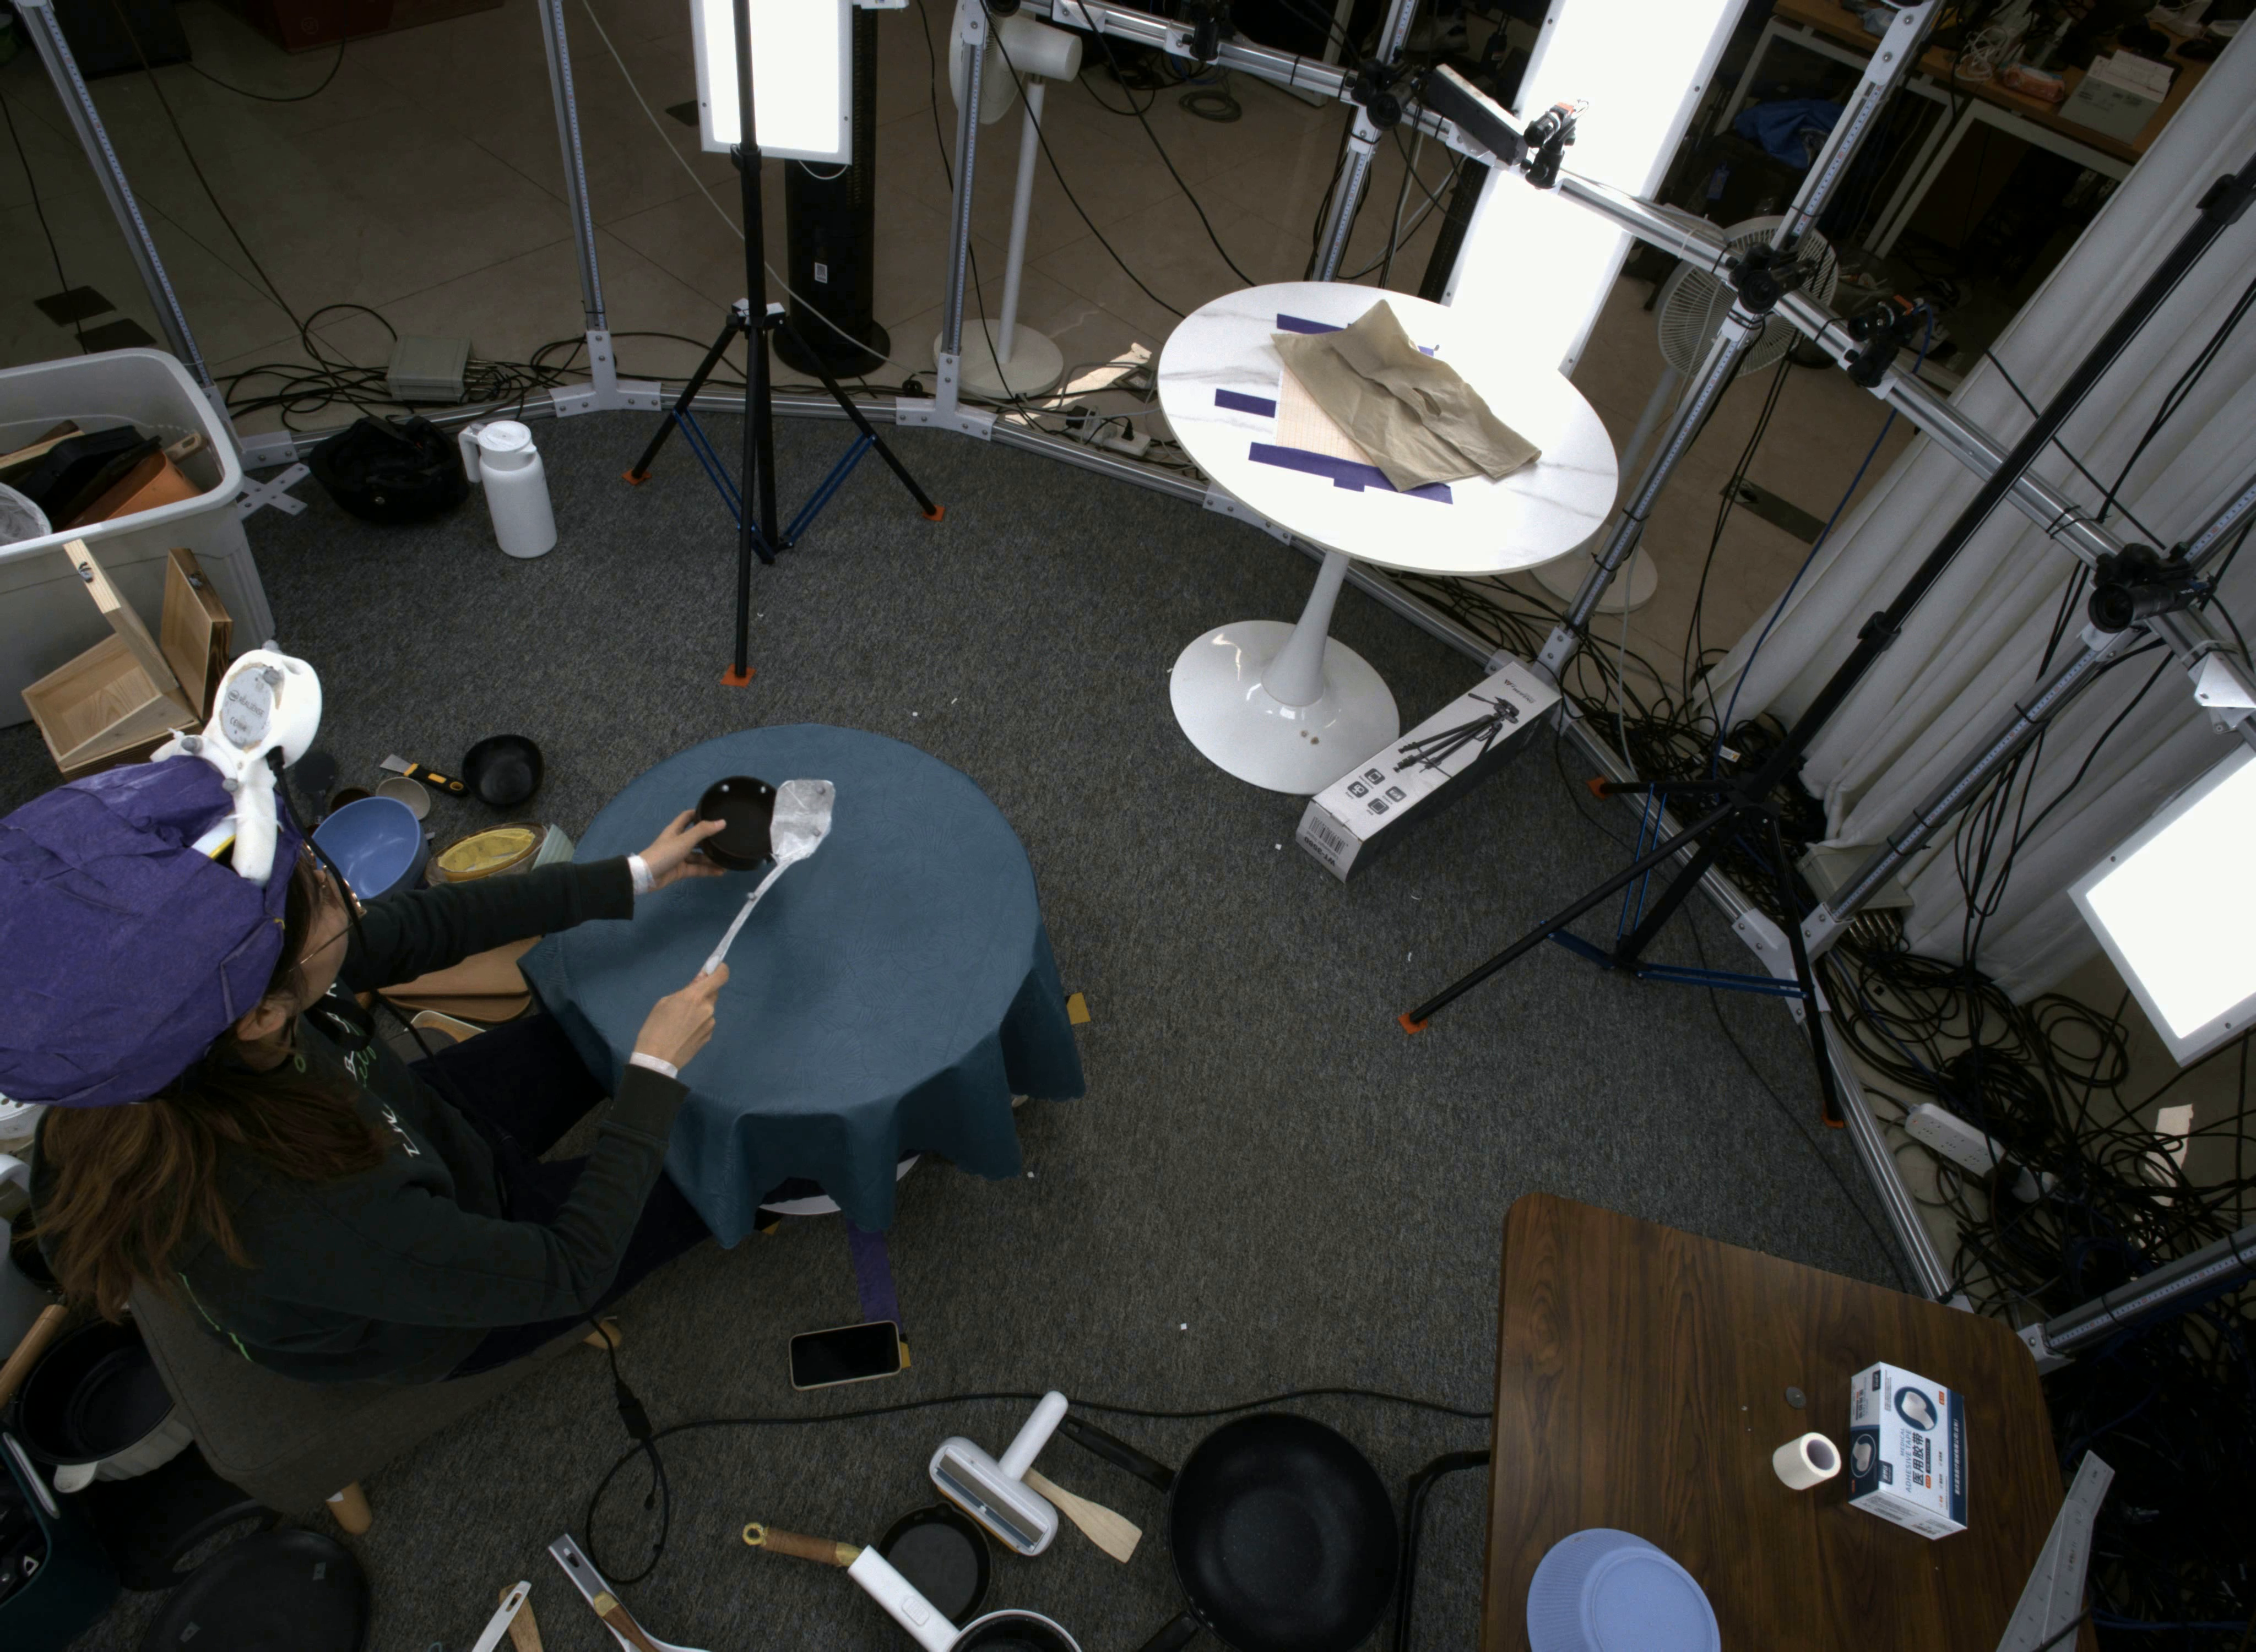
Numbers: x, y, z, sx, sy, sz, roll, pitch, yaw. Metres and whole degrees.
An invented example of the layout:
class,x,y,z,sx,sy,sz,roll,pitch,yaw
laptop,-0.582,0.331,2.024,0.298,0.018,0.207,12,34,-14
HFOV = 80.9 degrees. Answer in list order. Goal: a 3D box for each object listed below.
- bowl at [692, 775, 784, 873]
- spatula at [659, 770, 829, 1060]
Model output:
class,x,y,z,sx,sy,sz,roll,pitch,yaw
bowl,-0.480,0.004,1.600,0.119,0.070,0.116,13,58,-20
spatula,-0.437,0.091,1.445,0.095,0.046,0.363,5,55,32
